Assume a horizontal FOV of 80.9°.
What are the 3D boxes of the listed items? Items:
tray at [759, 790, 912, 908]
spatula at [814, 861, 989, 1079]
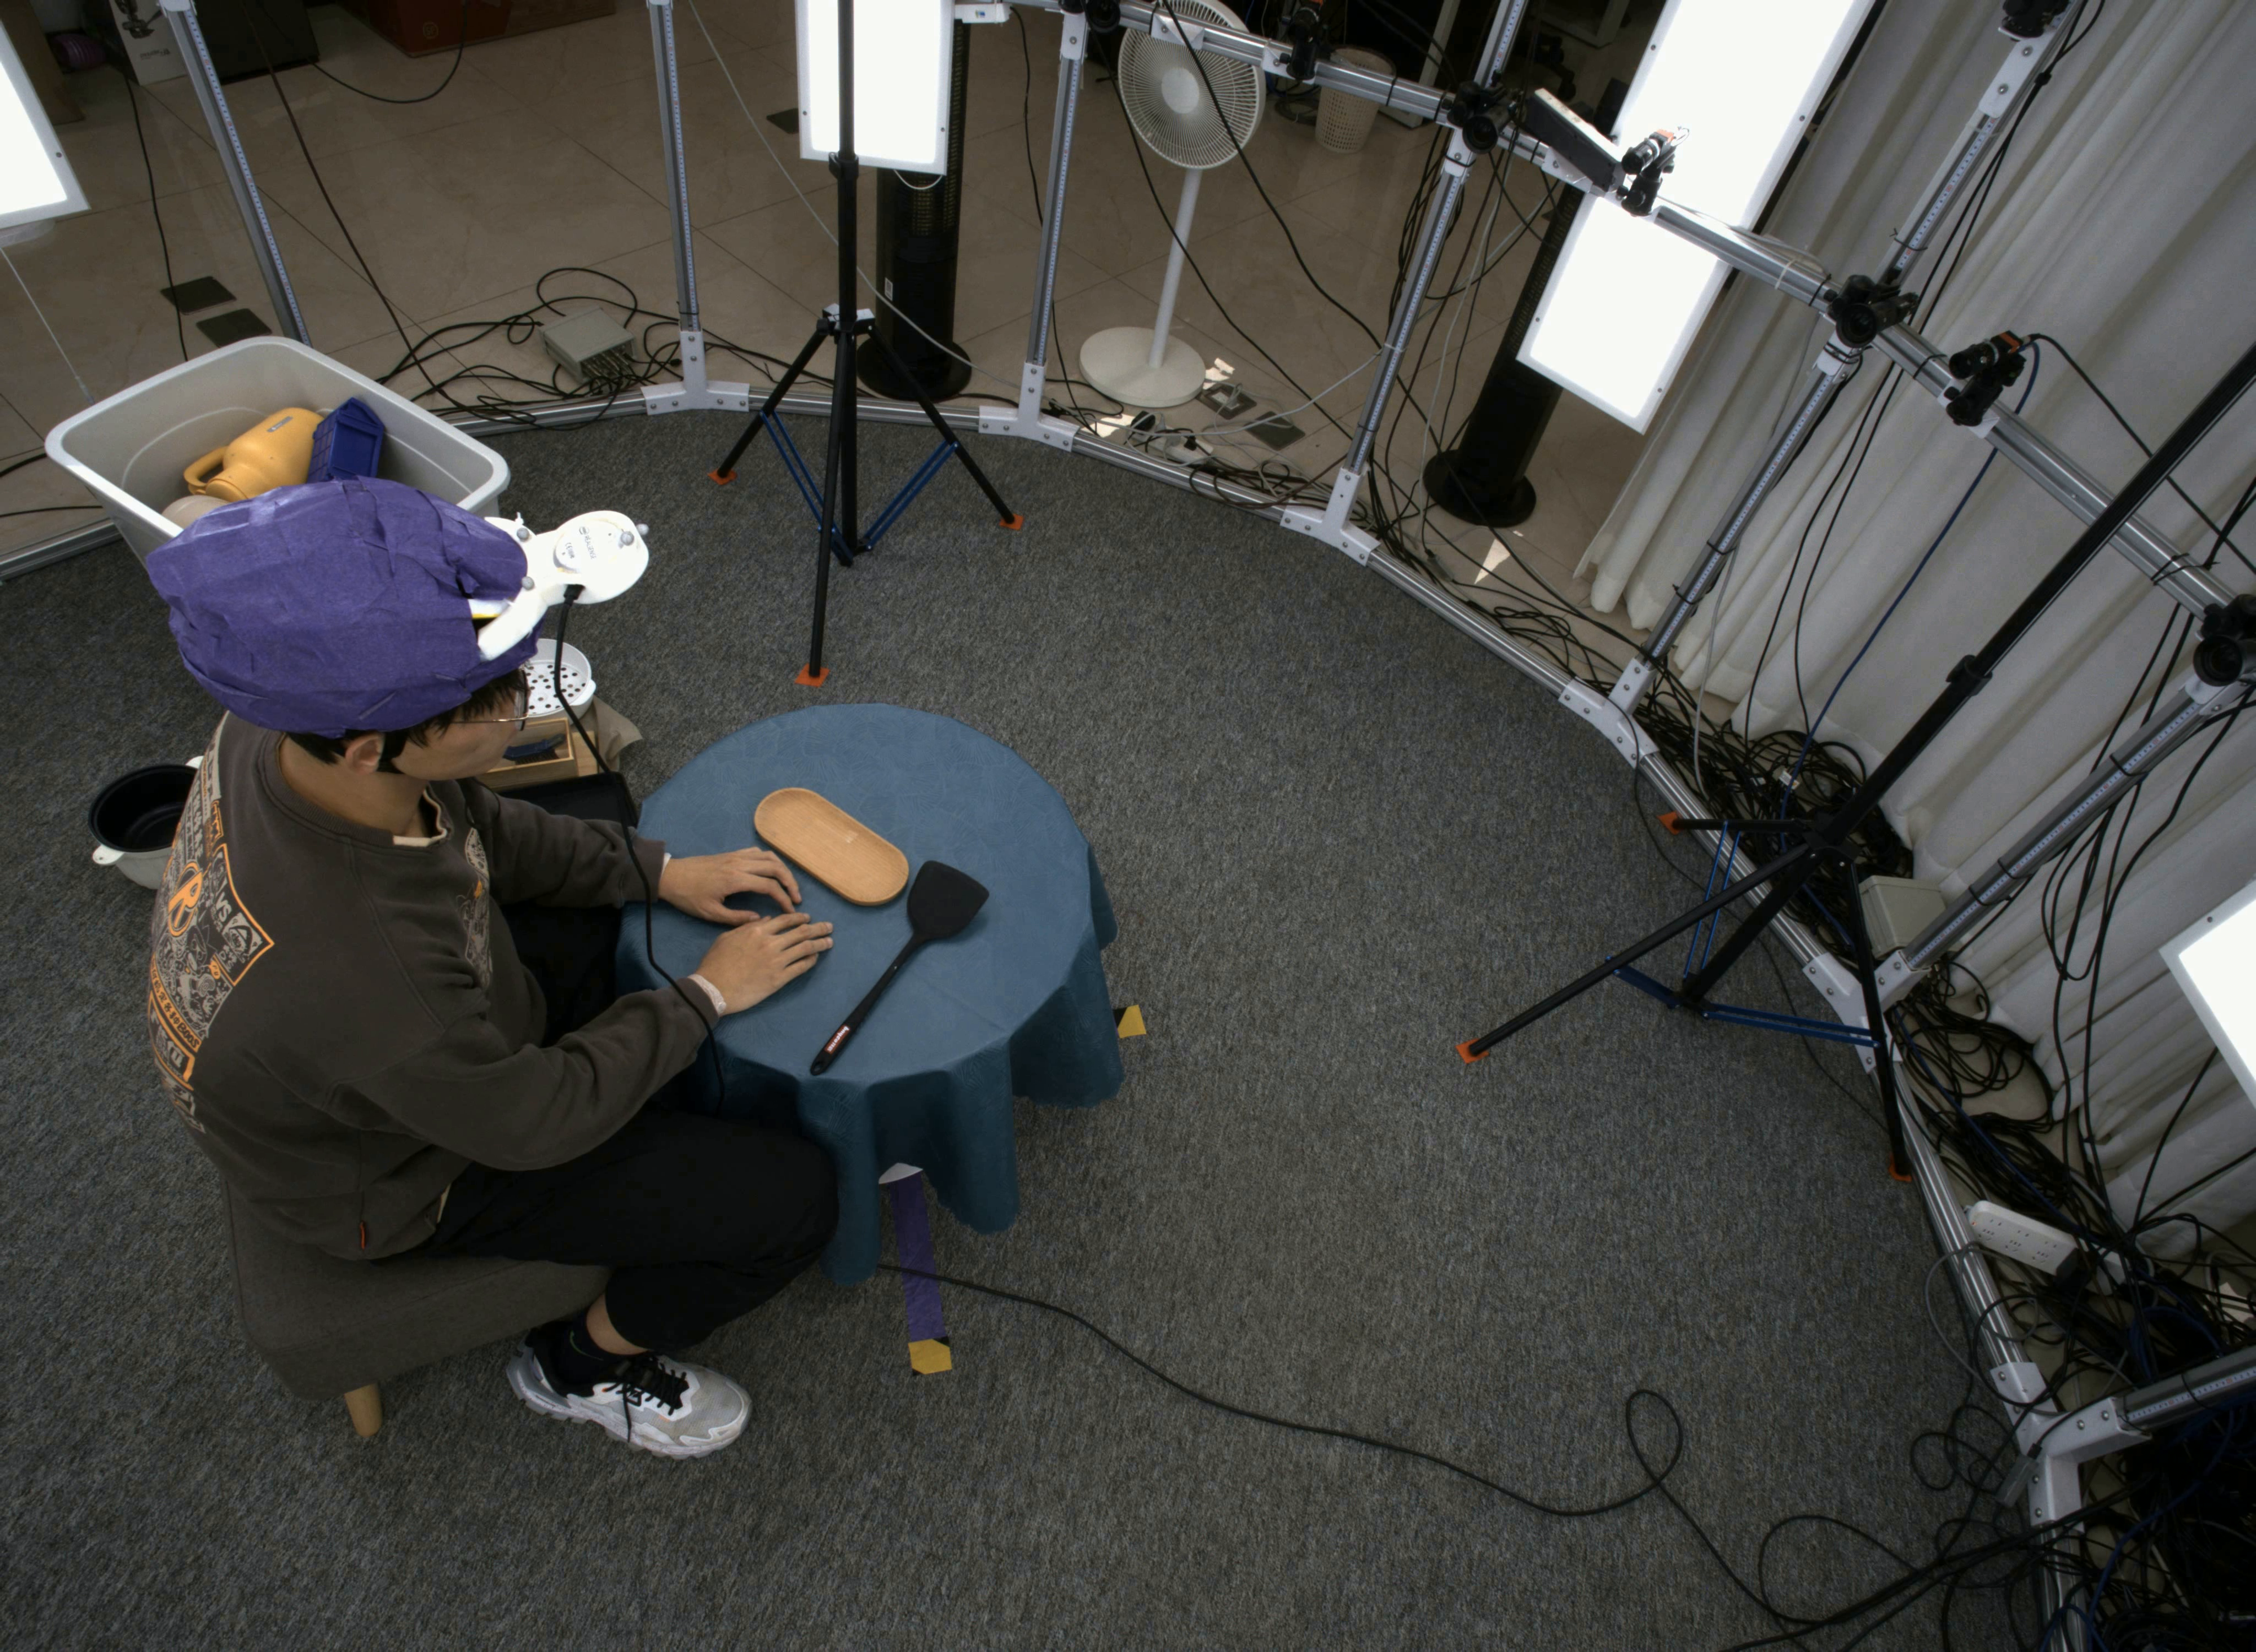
[{"bbox_3d":[-0.388,0.029,1.716,0.227,0.021,0.101,34,54,10],"label":"tray"},{"bbox_3d":[-0.293,0.178,1.616,0.098,0.041,0.324,27,53,9],"label":"spatula"}]
